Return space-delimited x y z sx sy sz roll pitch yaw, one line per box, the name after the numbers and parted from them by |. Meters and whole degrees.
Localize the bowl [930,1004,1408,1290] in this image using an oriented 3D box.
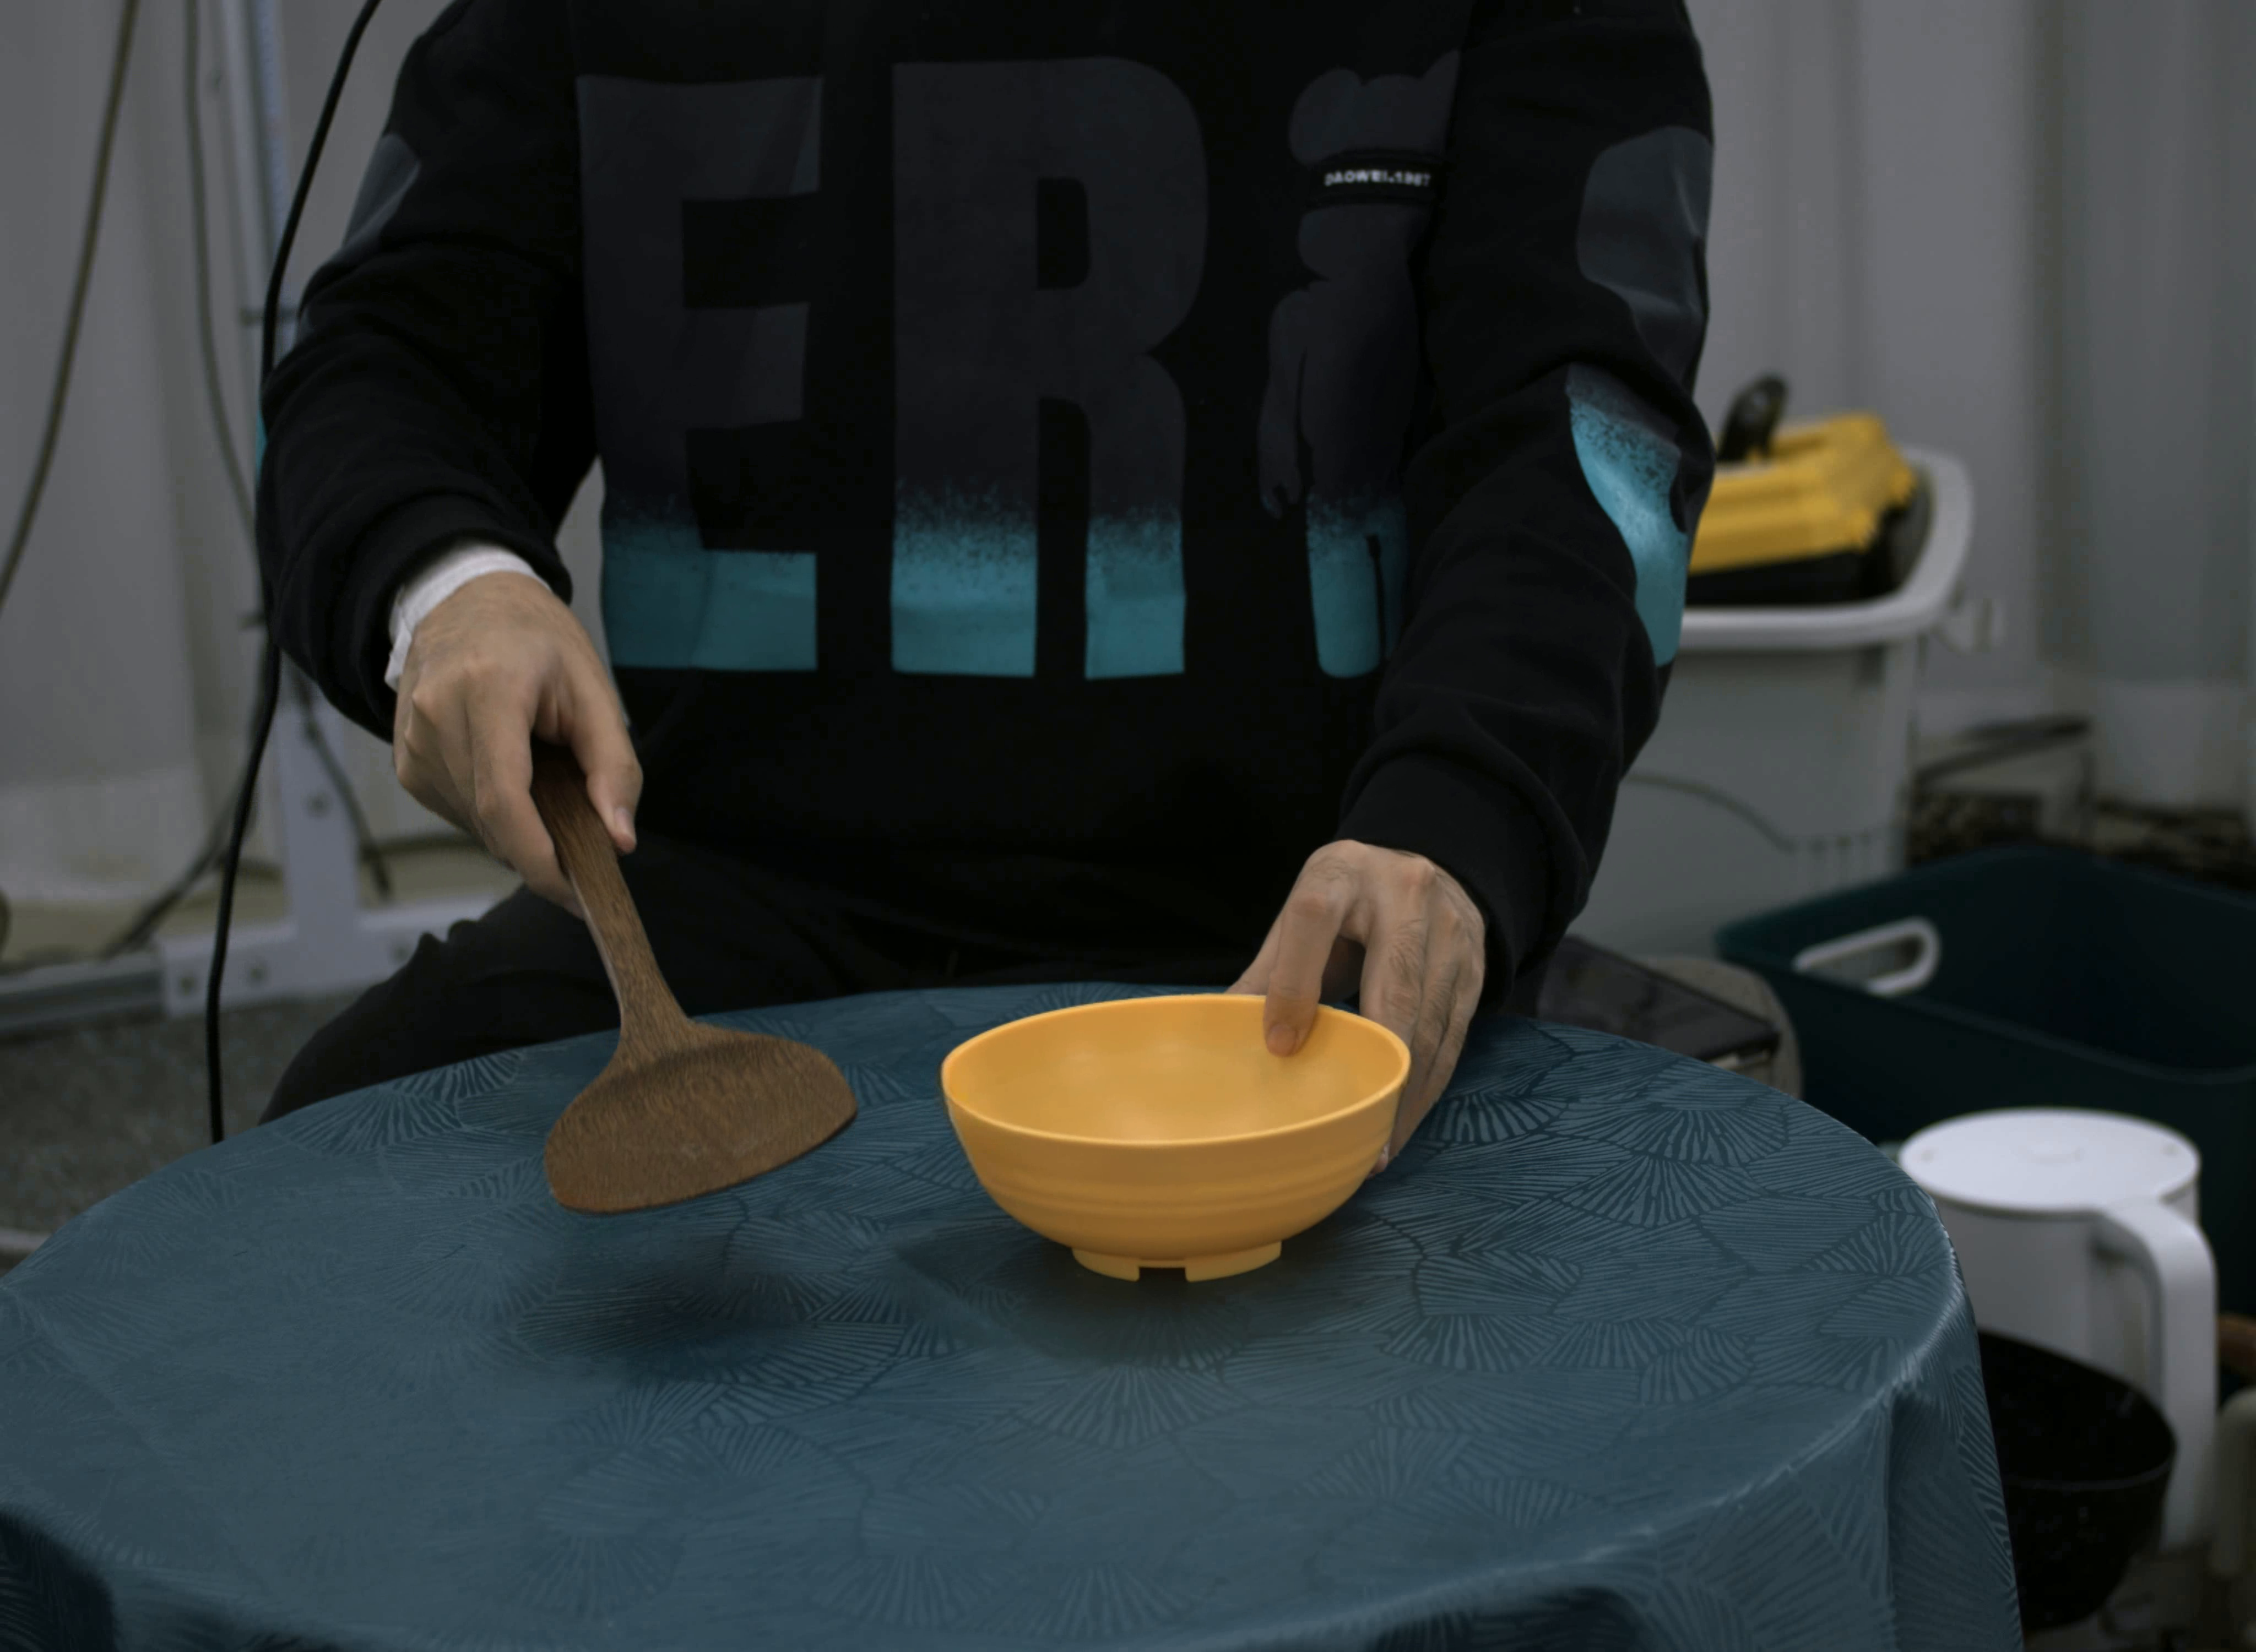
0.012 0.102 1.654 0.145 0.060 0.146 0 14 0 | bowl

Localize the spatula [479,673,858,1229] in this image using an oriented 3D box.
-0.167 0.029 1.751 0.096 0.015 0.391 -18 29 -7 | spatula
